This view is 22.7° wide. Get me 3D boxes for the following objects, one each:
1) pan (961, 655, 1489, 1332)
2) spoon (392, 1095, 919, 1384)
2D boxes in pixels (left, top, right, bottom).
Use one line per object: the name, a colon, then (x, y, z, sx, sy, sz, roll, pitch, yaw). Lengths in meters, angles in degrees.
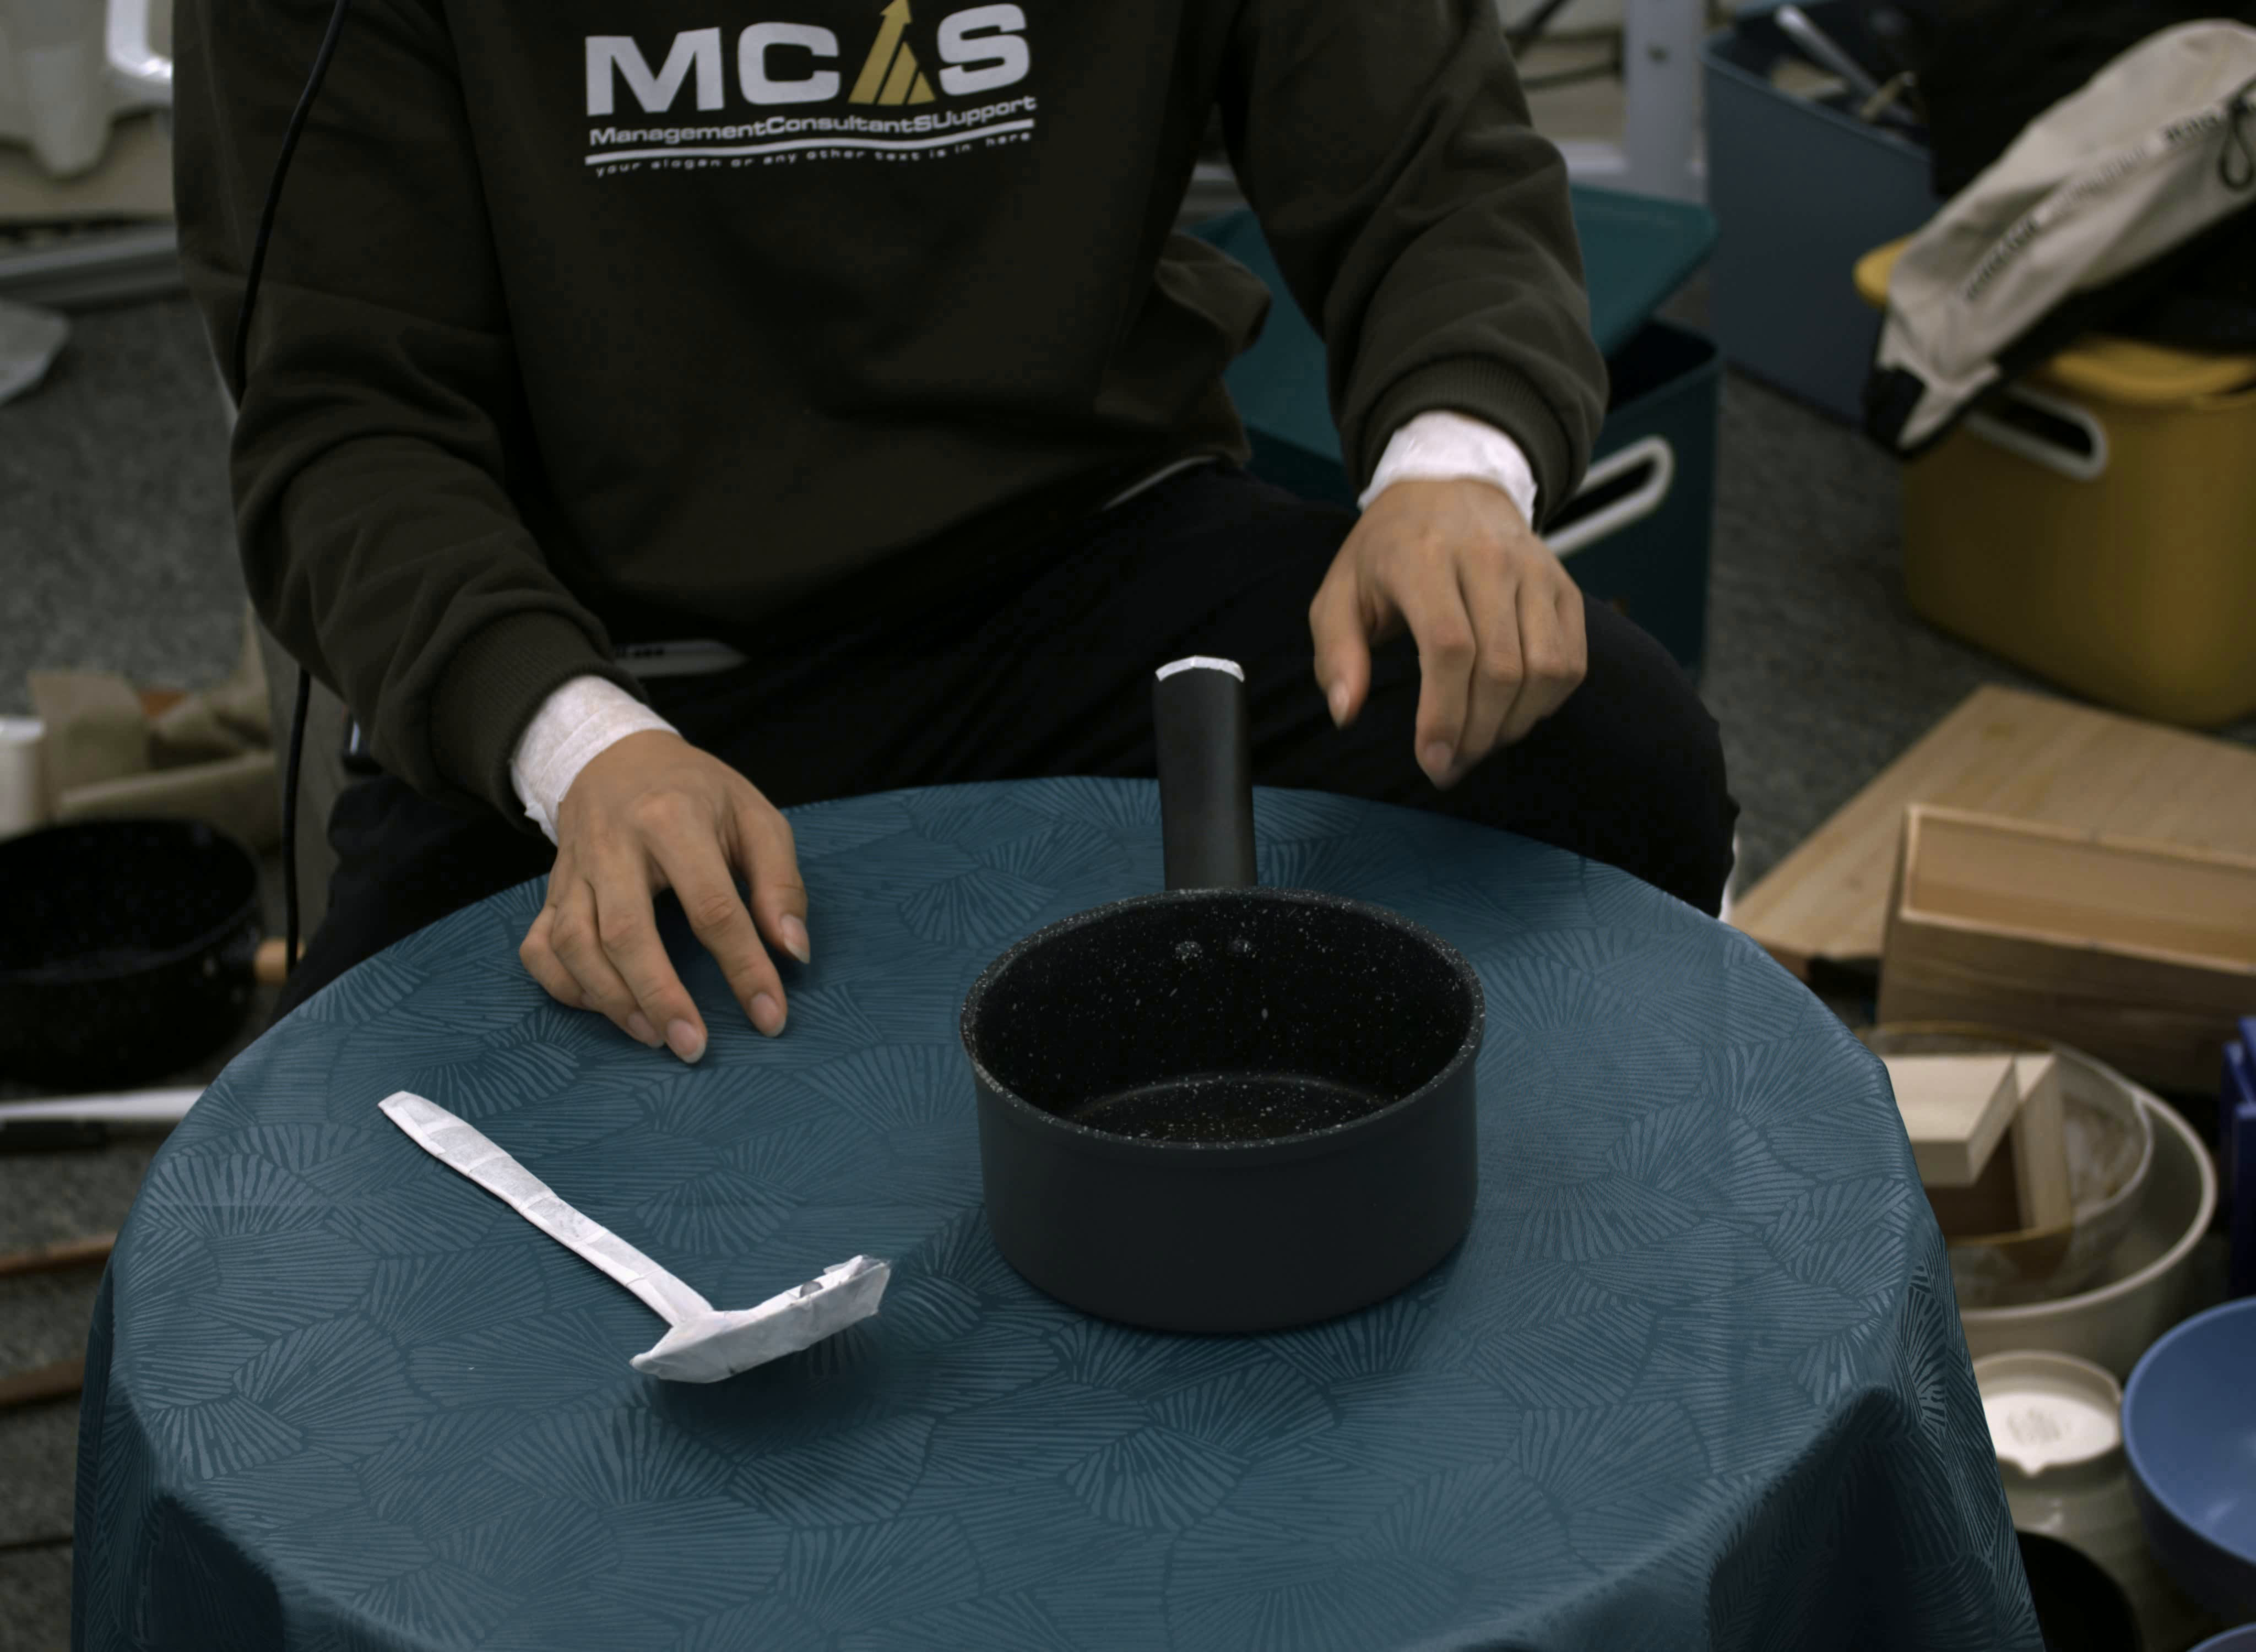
pan: (0.035, 0.053, 1.901, 0.171, 0.085, 0.334, -1, 28, 2)
spoon: (-0.165, 0.120, 1.835, 0.101, 0.059, 0.278, -9, 25, -35)
